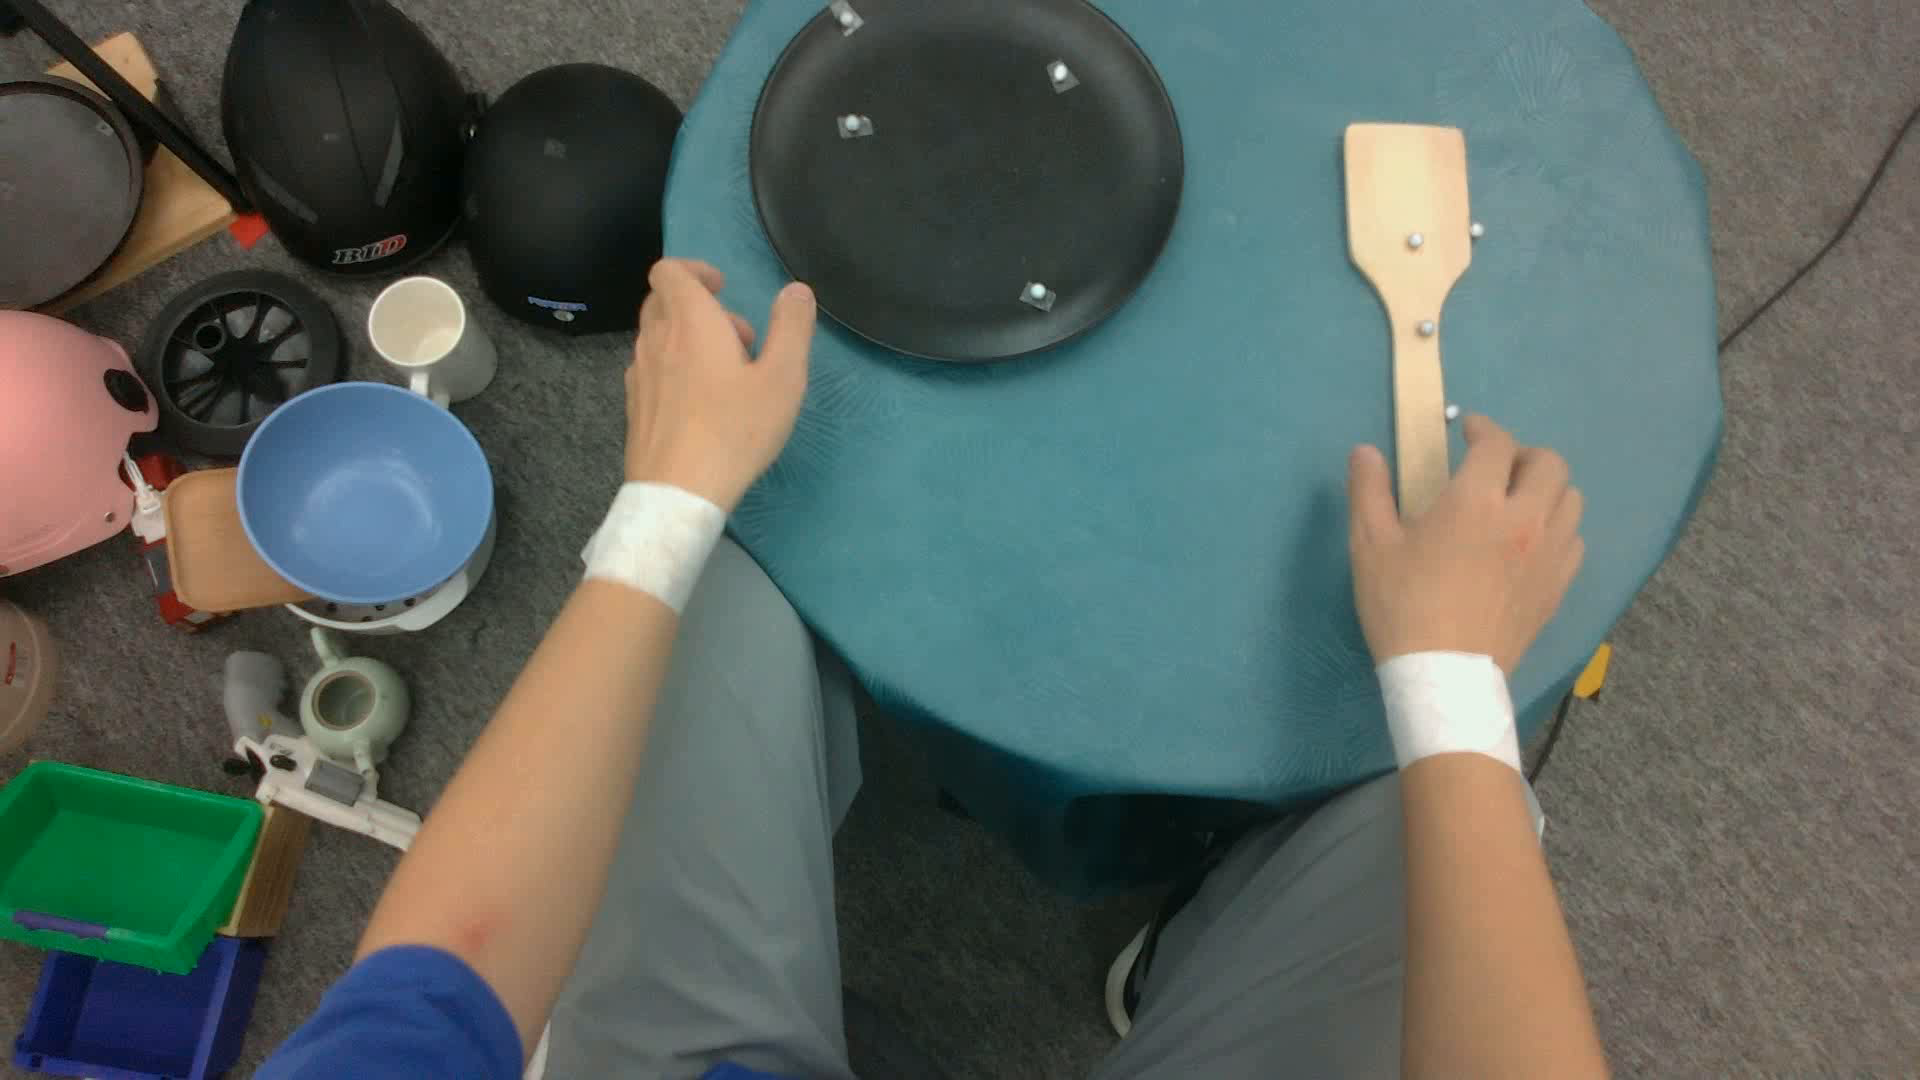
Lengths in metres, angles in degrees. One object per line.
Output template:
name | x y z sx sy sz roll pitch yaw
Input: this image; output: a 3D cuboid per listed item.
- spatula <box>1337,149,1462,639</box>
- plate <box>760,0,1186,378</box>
spatula | 0.256 -0.088 0.776 0.072 0.010 0.293 2 74 -3
plate | 0.008 -0.205 0.793 0.244 0.023 0.245 1 75 -2
